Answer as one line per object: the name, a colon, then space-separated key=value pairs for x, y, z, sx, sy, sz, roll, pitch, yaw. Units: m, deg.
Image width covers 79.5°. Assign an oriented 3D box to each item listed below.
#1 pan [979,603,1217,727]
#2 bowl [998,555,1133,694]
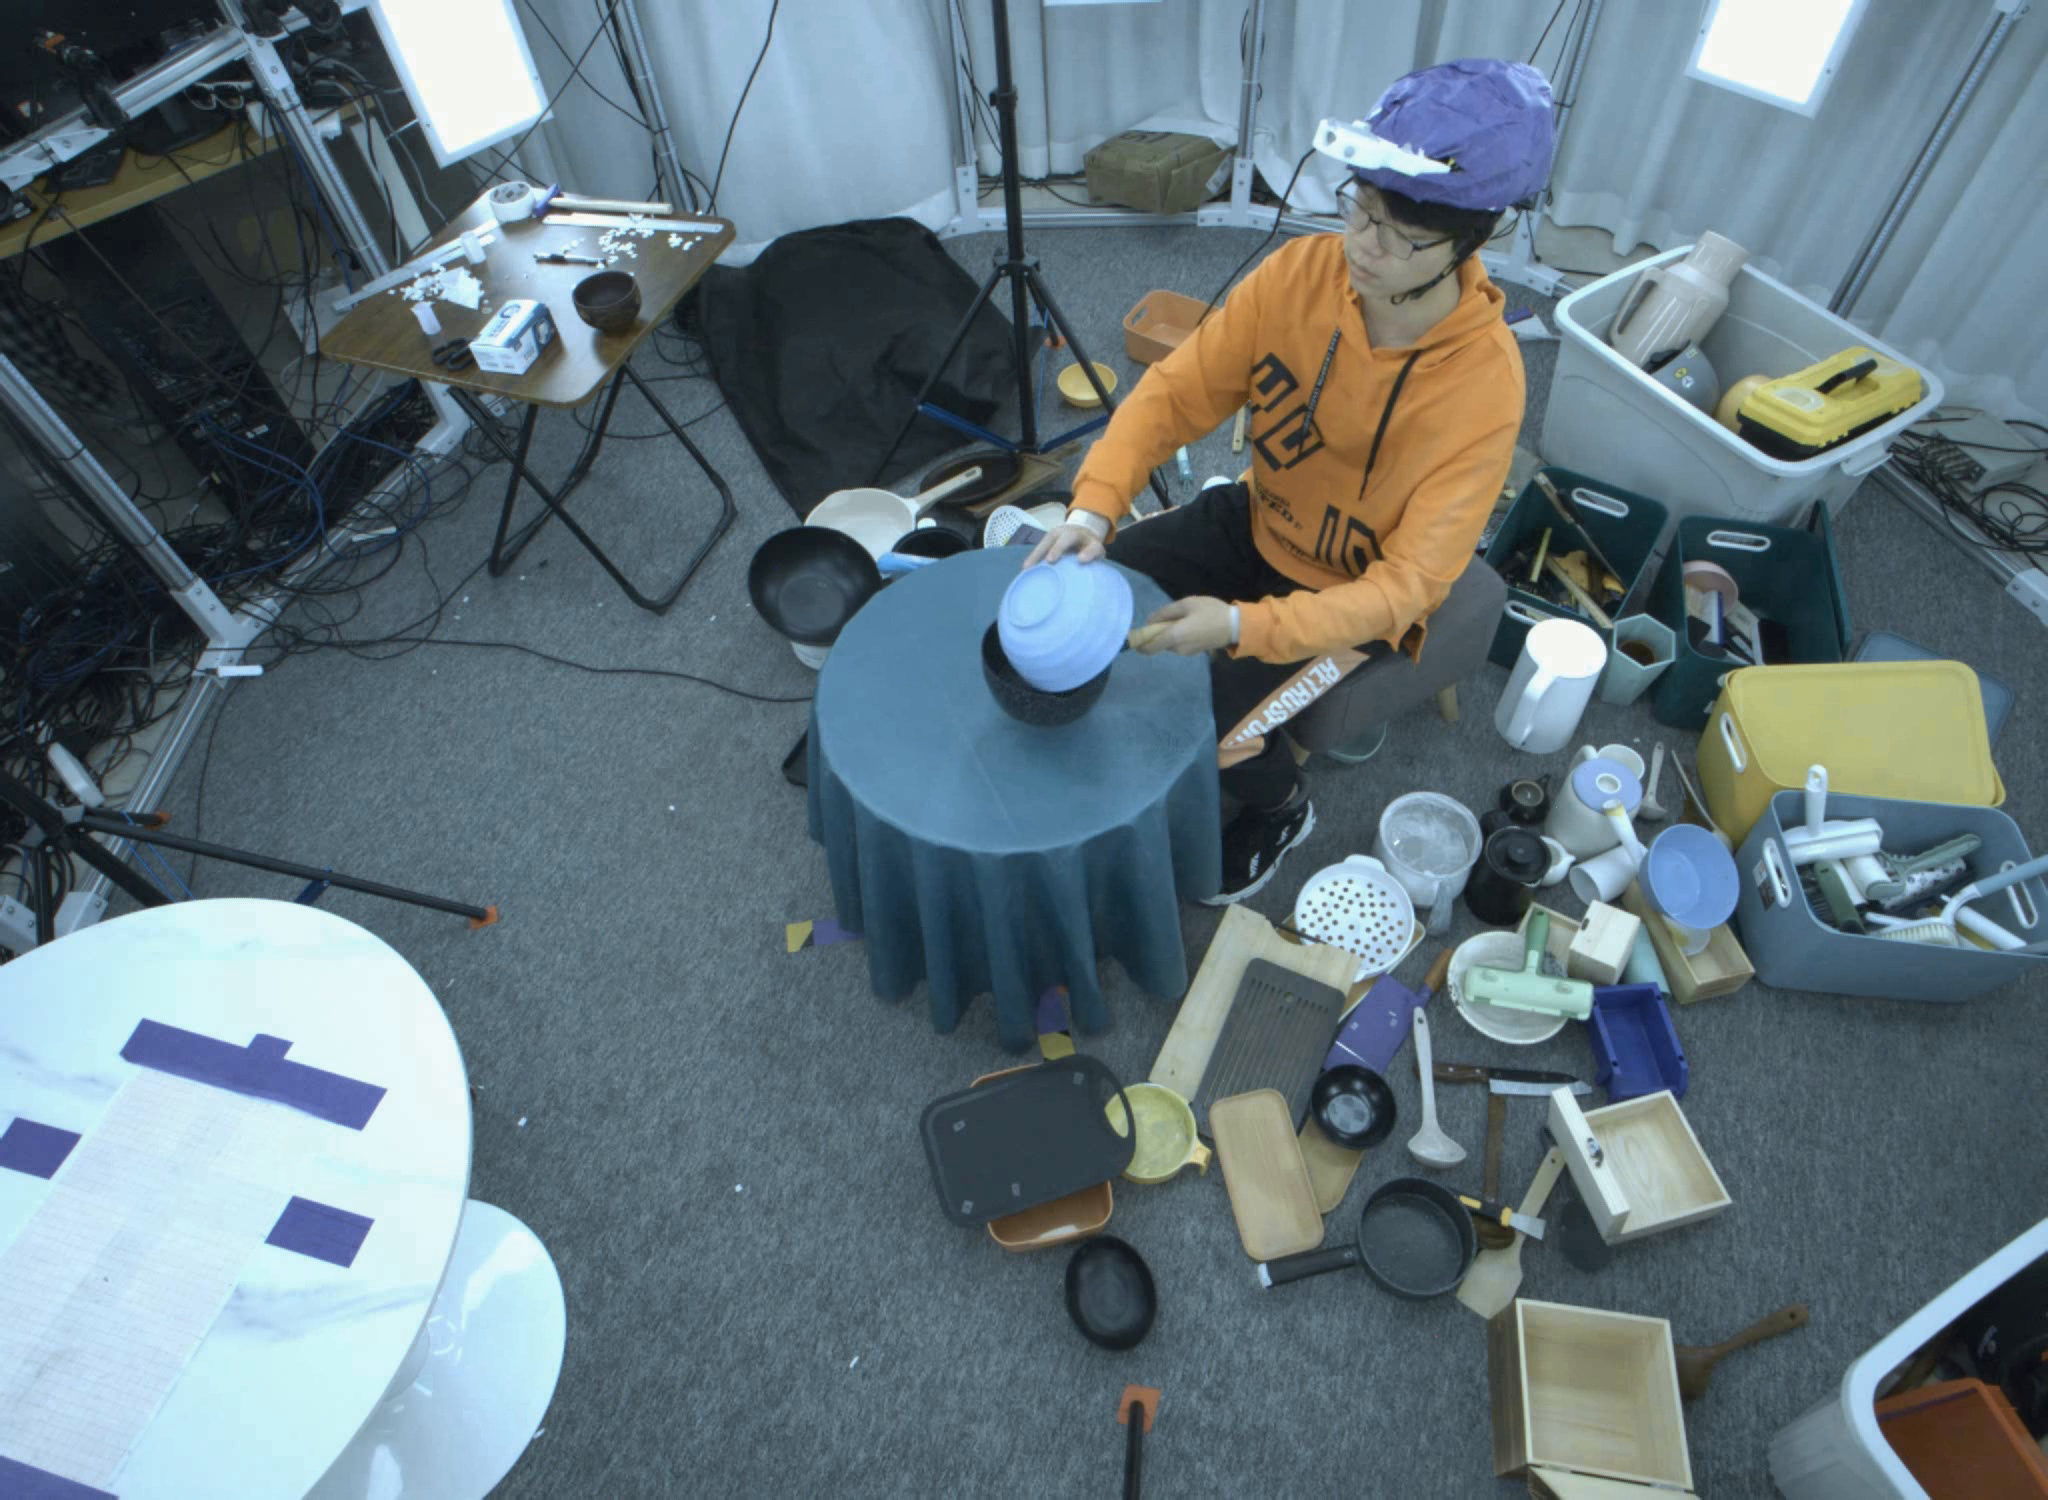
pan: x=0.107 y=-0.139 z=1.752 sx=0.345 sy=0.109 sz=0.204 roll=-12 pitch=51 yaw=-11
bowl: x=0.038 y=-0.183 z=1.647 sx=0.193 sy=0.098 sz=0.195 roll=-14 pitch=62 yaw=30
